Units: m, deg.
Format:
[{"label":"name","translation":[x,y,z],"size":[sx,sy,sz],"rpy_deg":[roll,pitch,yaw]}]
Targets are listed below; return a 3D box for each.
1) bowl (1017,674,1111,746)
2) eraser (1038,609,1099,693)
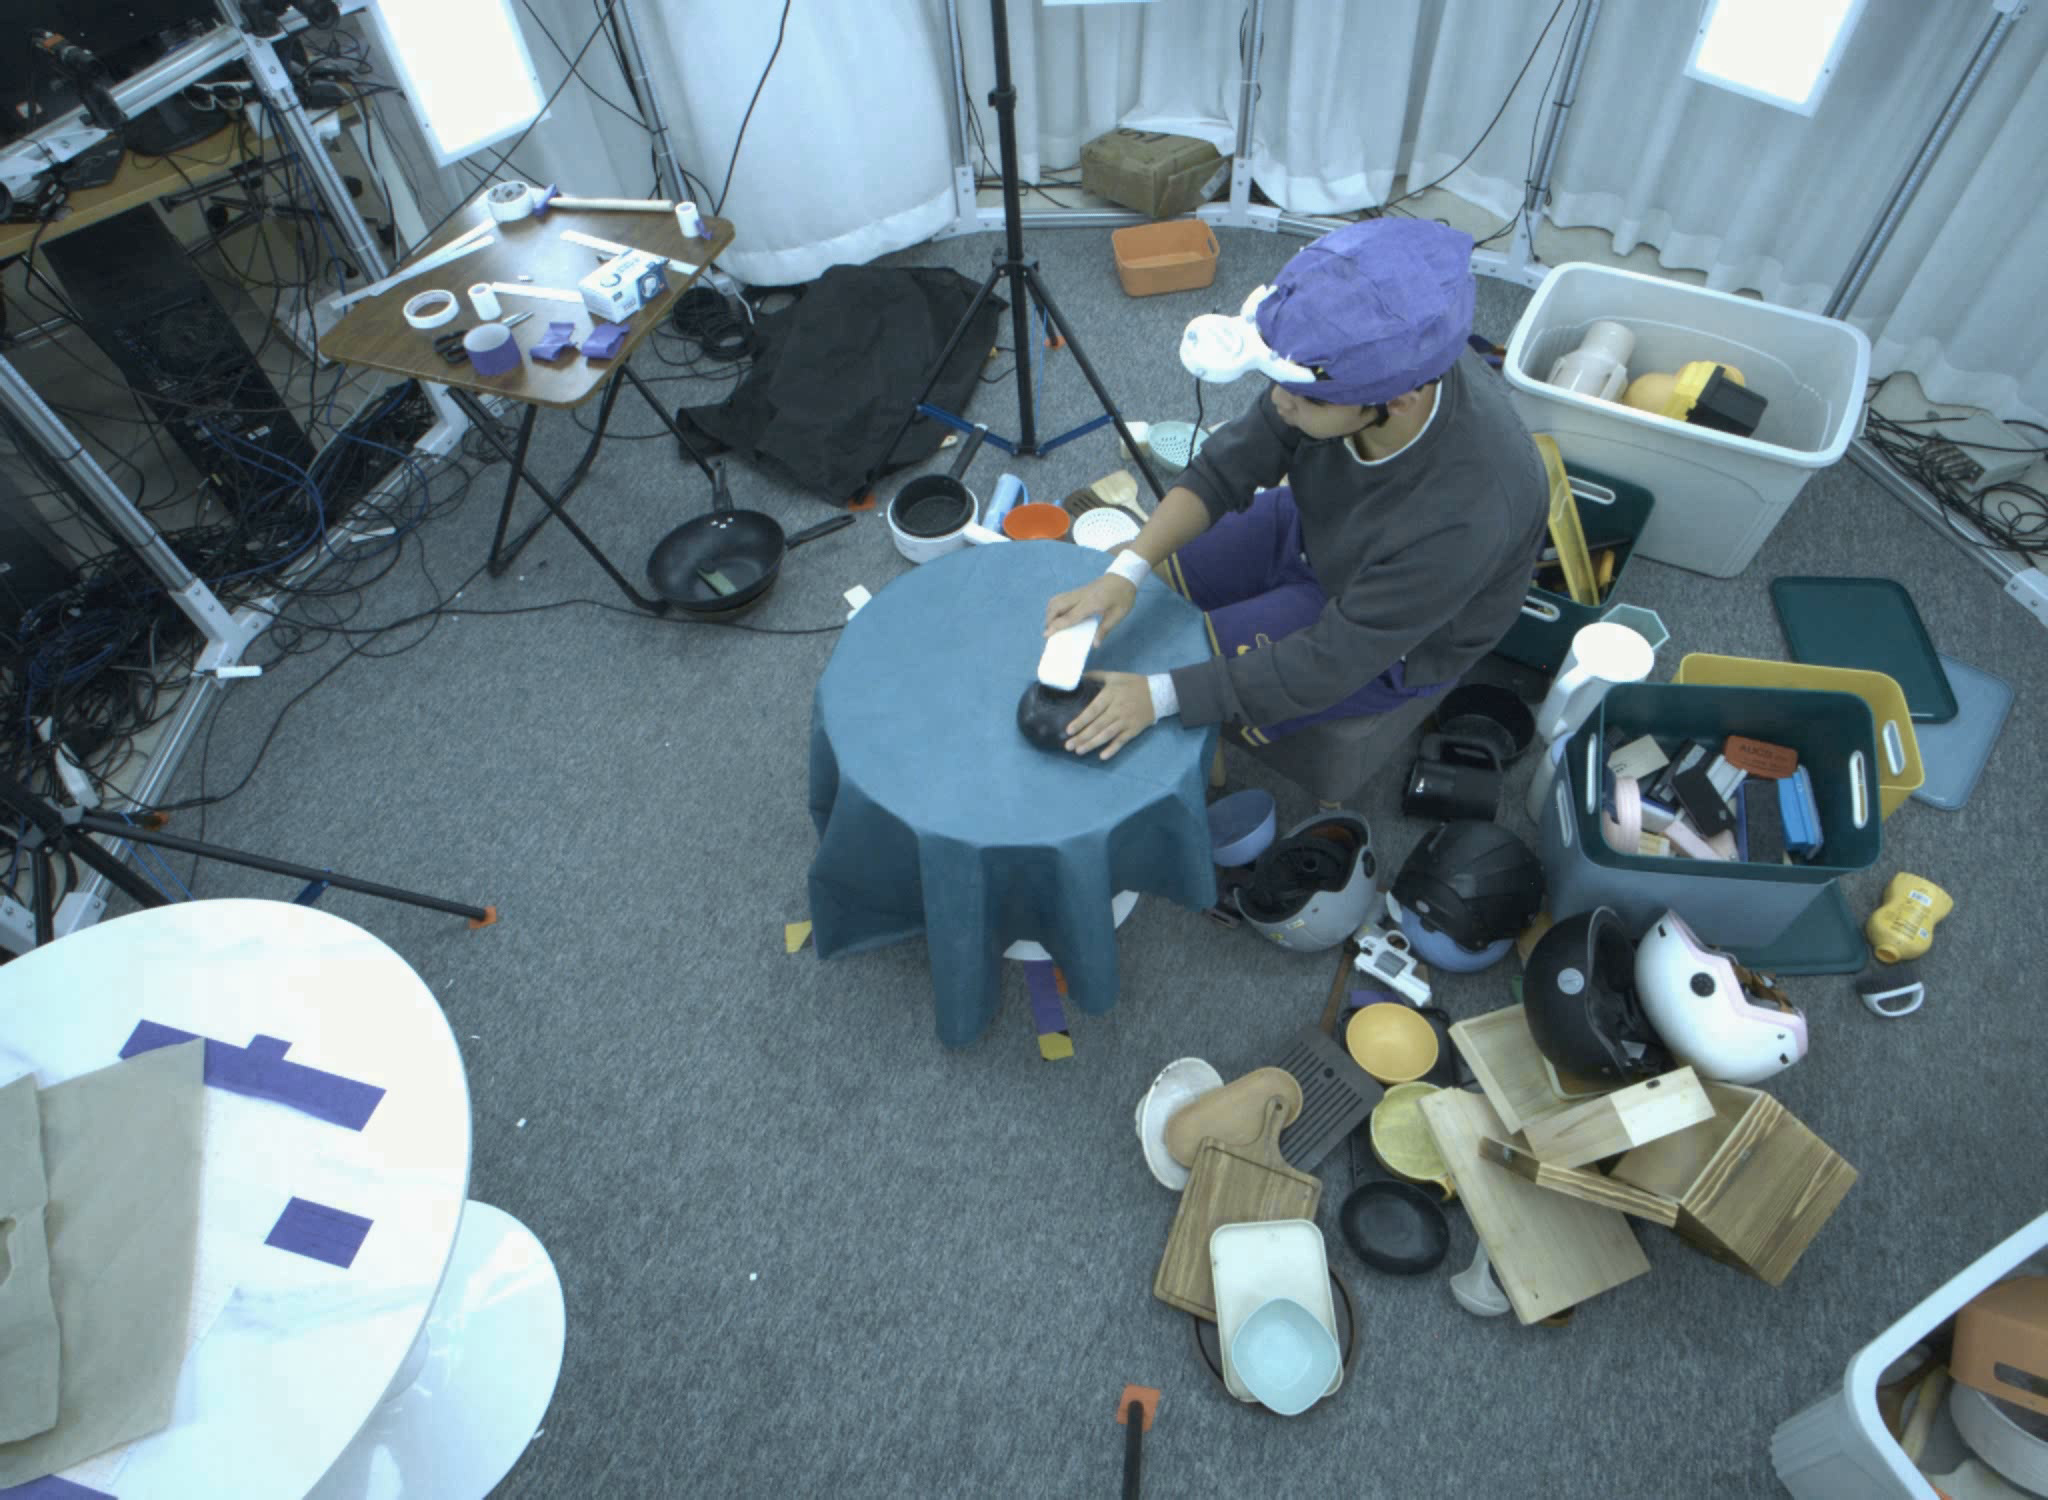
[{"label":"bowl","translation":[0.055,-0.071,1.794],"size":[0.139,0.050,0.138],"rpy_deg":[-4,45,5]},{"label":"eraser","translation":[0.066,-0.146,1.796],"size":[0.063,0.035,0.131],"rpy_deg":[17,63,7]}]
